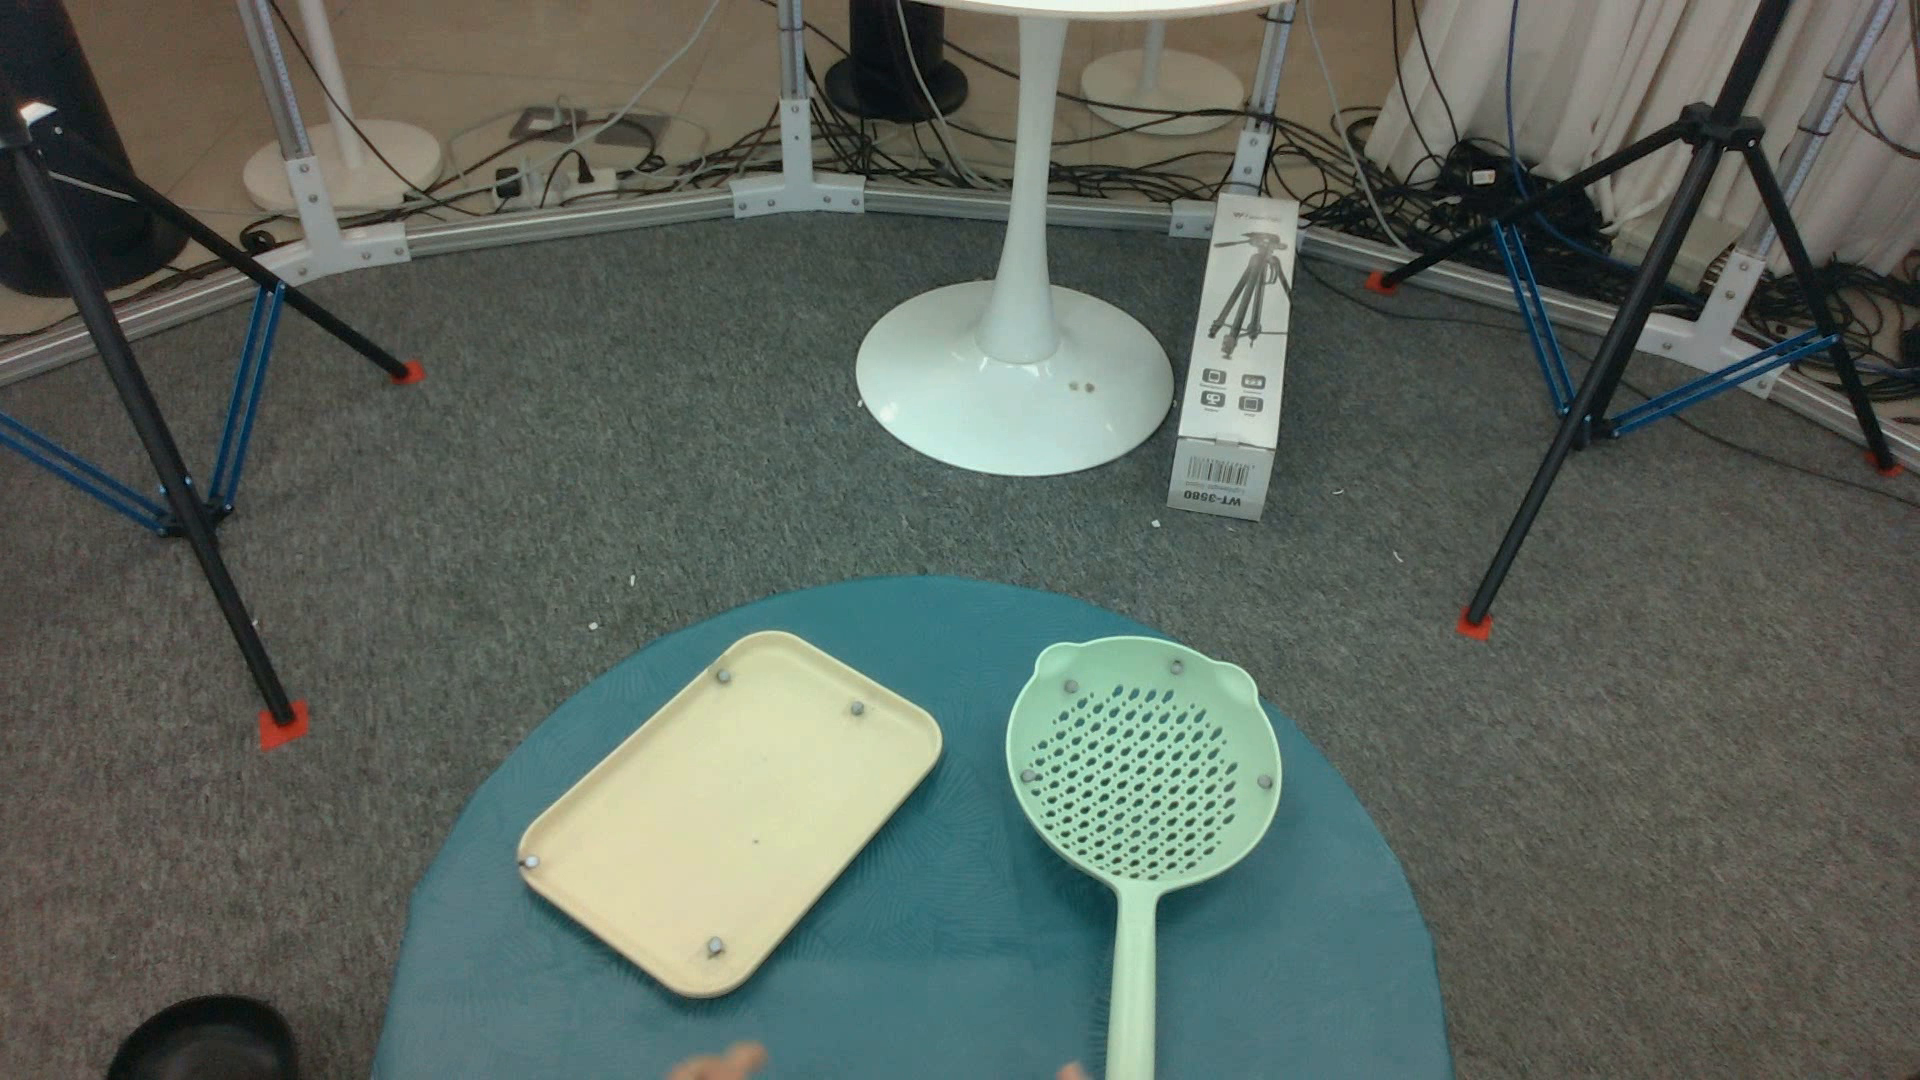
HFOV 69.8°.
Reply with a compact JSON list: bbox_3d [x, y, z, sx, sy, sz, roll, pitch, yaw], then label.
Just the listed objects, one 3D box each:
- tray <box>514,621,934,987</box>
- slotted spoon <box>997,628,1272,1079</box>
[{"bbox_3d":[-0.141,0.155,0.857,0.171,0.017,0.241,27,49,22],"label":"tray"},{"bbox_3d":[0.094,0.208,0.788,0.169,0.075,0.360,7,44,2],"label":"slotted spoon"}]
